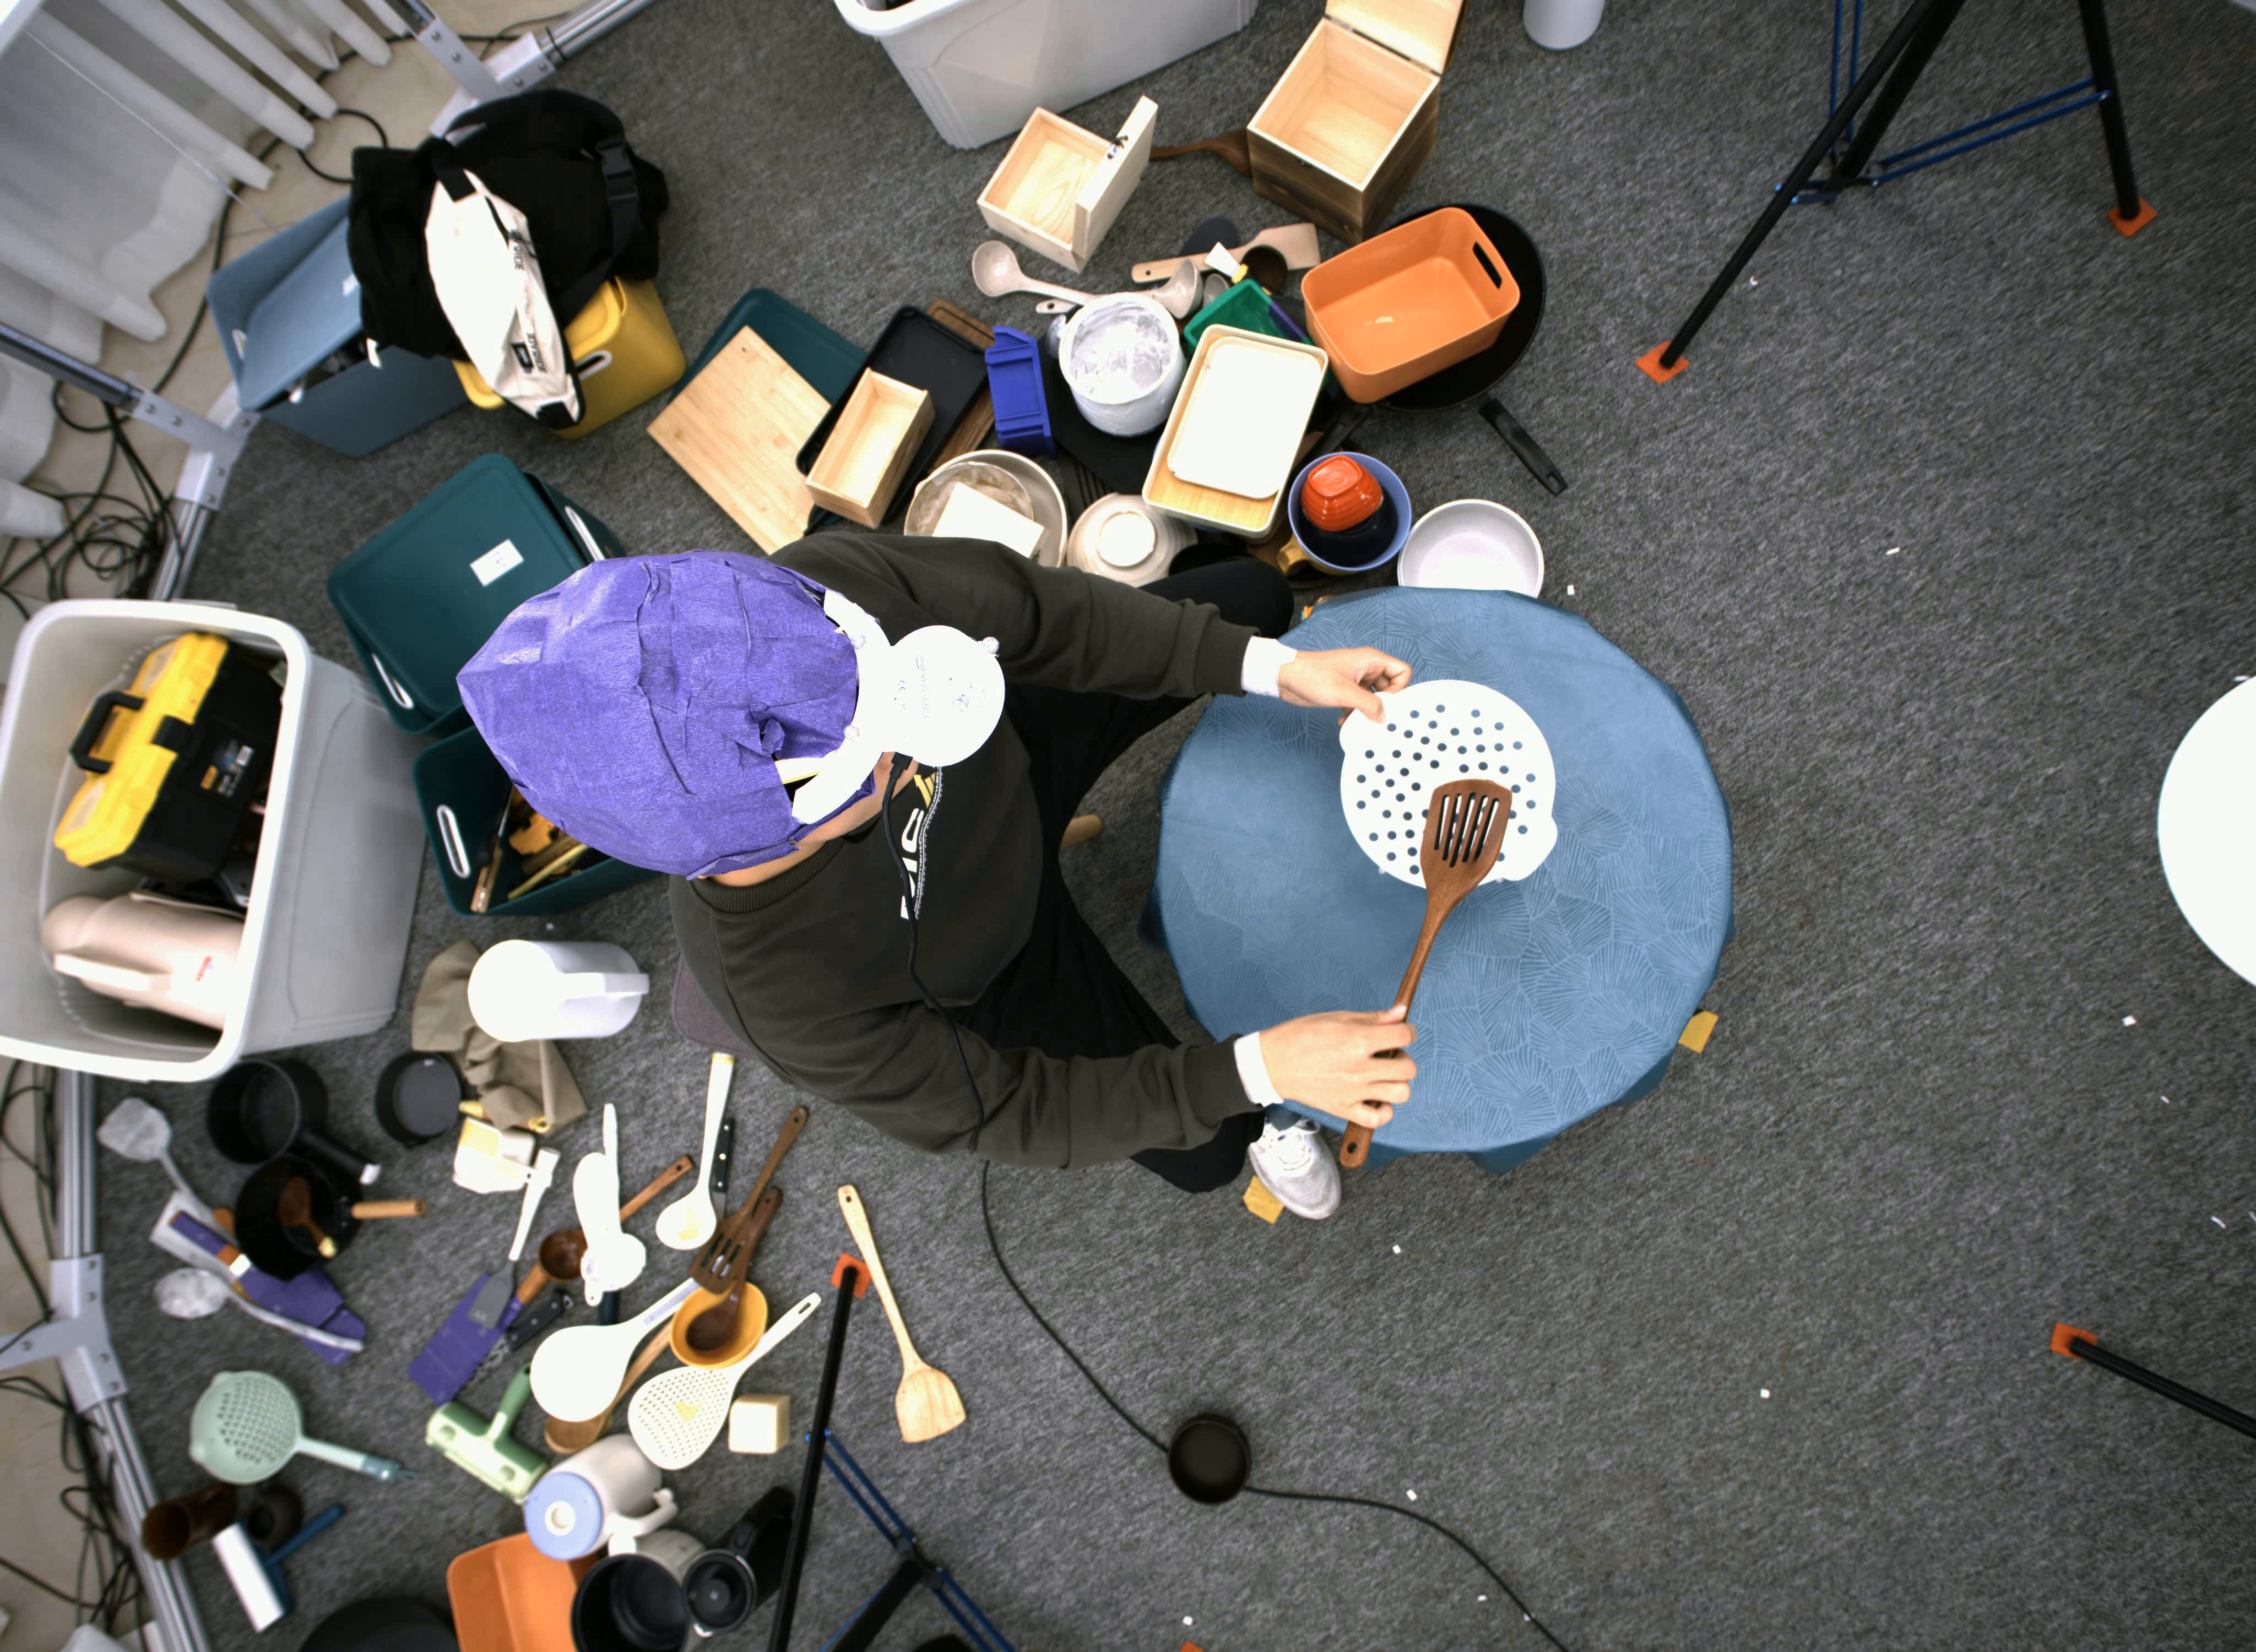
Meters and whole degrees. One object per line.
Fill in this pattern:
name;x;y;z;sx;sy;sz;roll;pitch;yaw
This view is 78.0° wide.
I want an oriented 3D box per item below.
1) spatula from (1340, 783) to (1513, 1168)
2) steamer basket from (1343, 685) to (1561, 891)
spatula;0.265;0.127;1.252;0.086;0.024;0.379;4;64;46
steamer basket;0.316;-0.035;1.345;0.229;0.069;0.203;40;96;15
